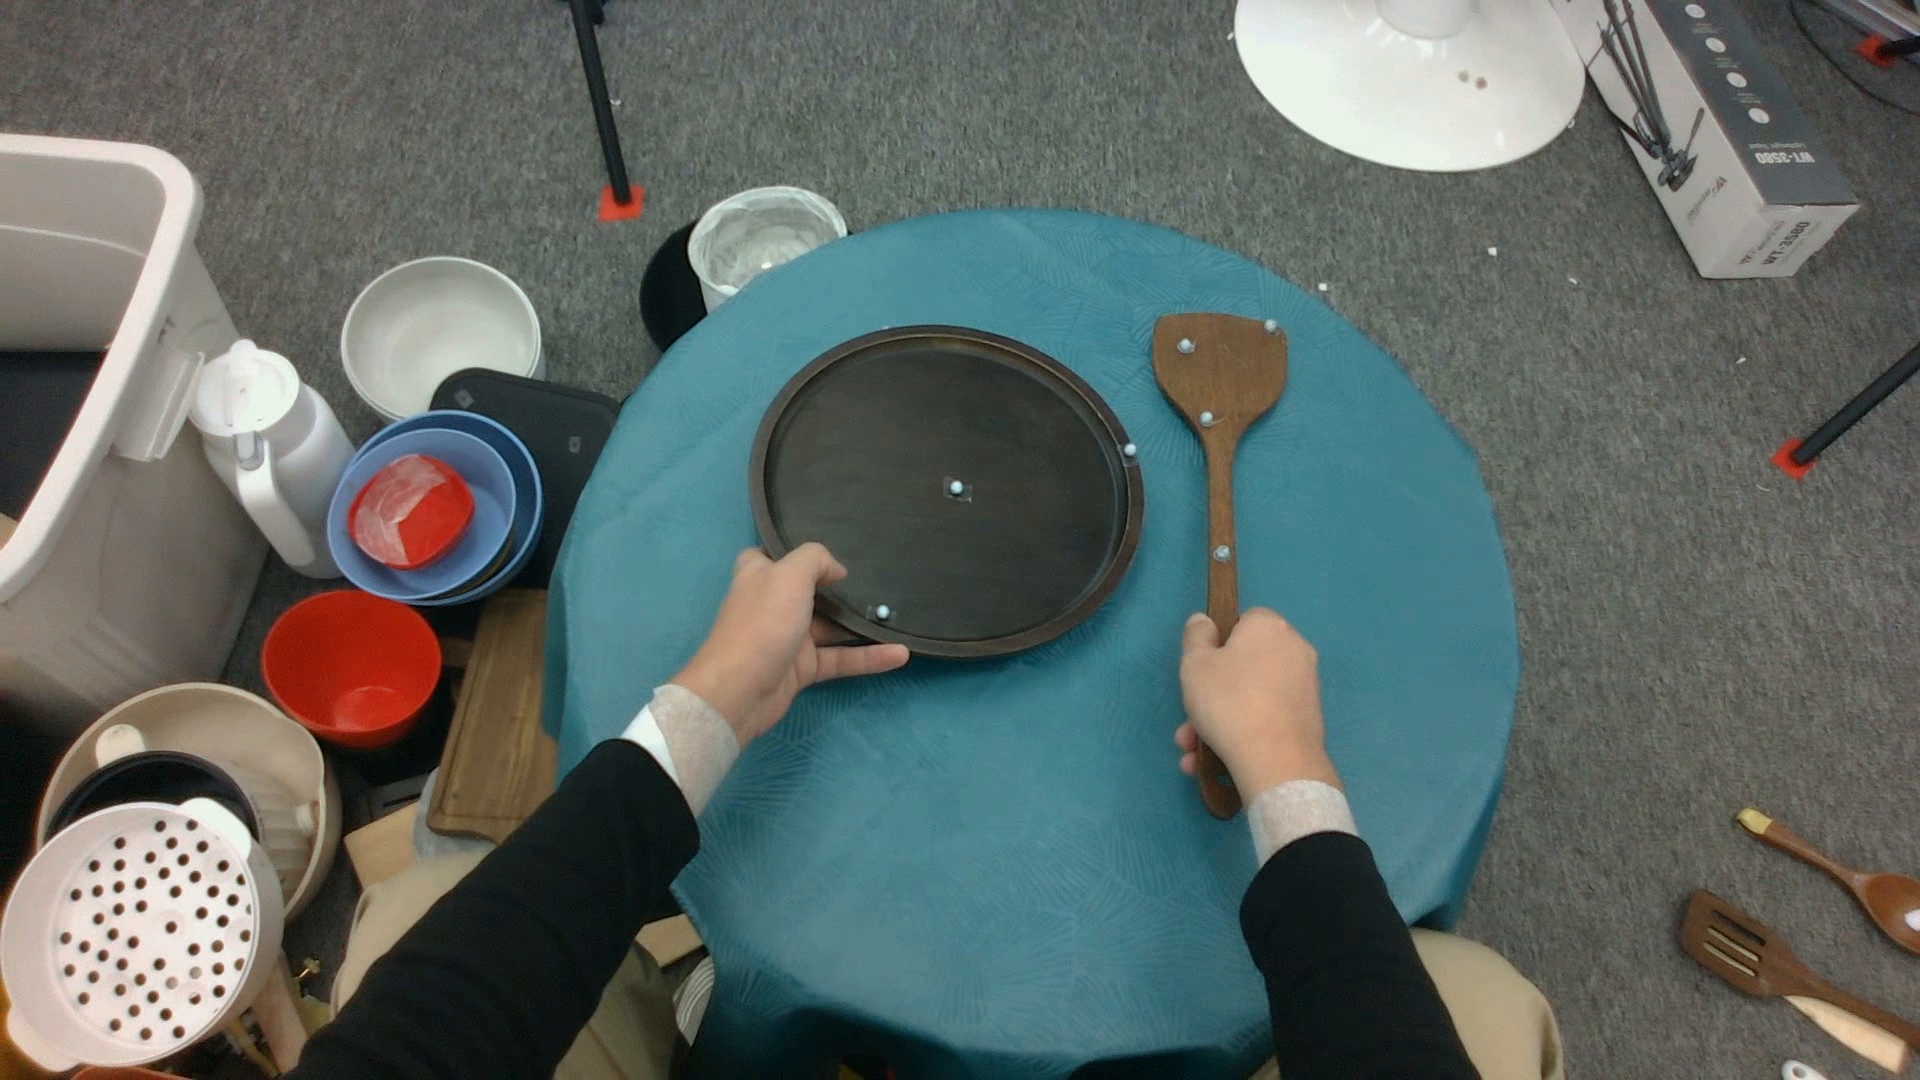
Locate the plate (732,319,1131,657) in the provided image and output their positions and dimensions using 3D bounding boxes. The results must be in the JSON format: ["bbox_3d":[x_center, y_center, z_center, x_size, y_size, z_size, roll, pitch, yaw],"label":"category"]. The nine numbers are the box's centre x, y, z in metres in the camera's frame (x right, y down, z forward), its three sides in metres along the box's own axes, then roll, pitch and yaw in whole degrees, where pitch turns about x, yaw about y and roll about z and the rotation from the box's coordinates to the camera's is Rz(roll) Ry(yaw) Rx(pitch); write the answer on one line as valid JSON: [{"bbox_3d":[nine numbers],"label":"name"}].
[{"bbox_3d":[-0.017,-0.038,0.872,0.255,0.029,0.256,5,57,-8],"label":"plate"}]

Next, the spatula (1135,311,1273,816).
[{"bbox_3d":[0.156,-0.007,0.865,0.096,0.016,0.388,6,53,1],"label":"spatula"}]
